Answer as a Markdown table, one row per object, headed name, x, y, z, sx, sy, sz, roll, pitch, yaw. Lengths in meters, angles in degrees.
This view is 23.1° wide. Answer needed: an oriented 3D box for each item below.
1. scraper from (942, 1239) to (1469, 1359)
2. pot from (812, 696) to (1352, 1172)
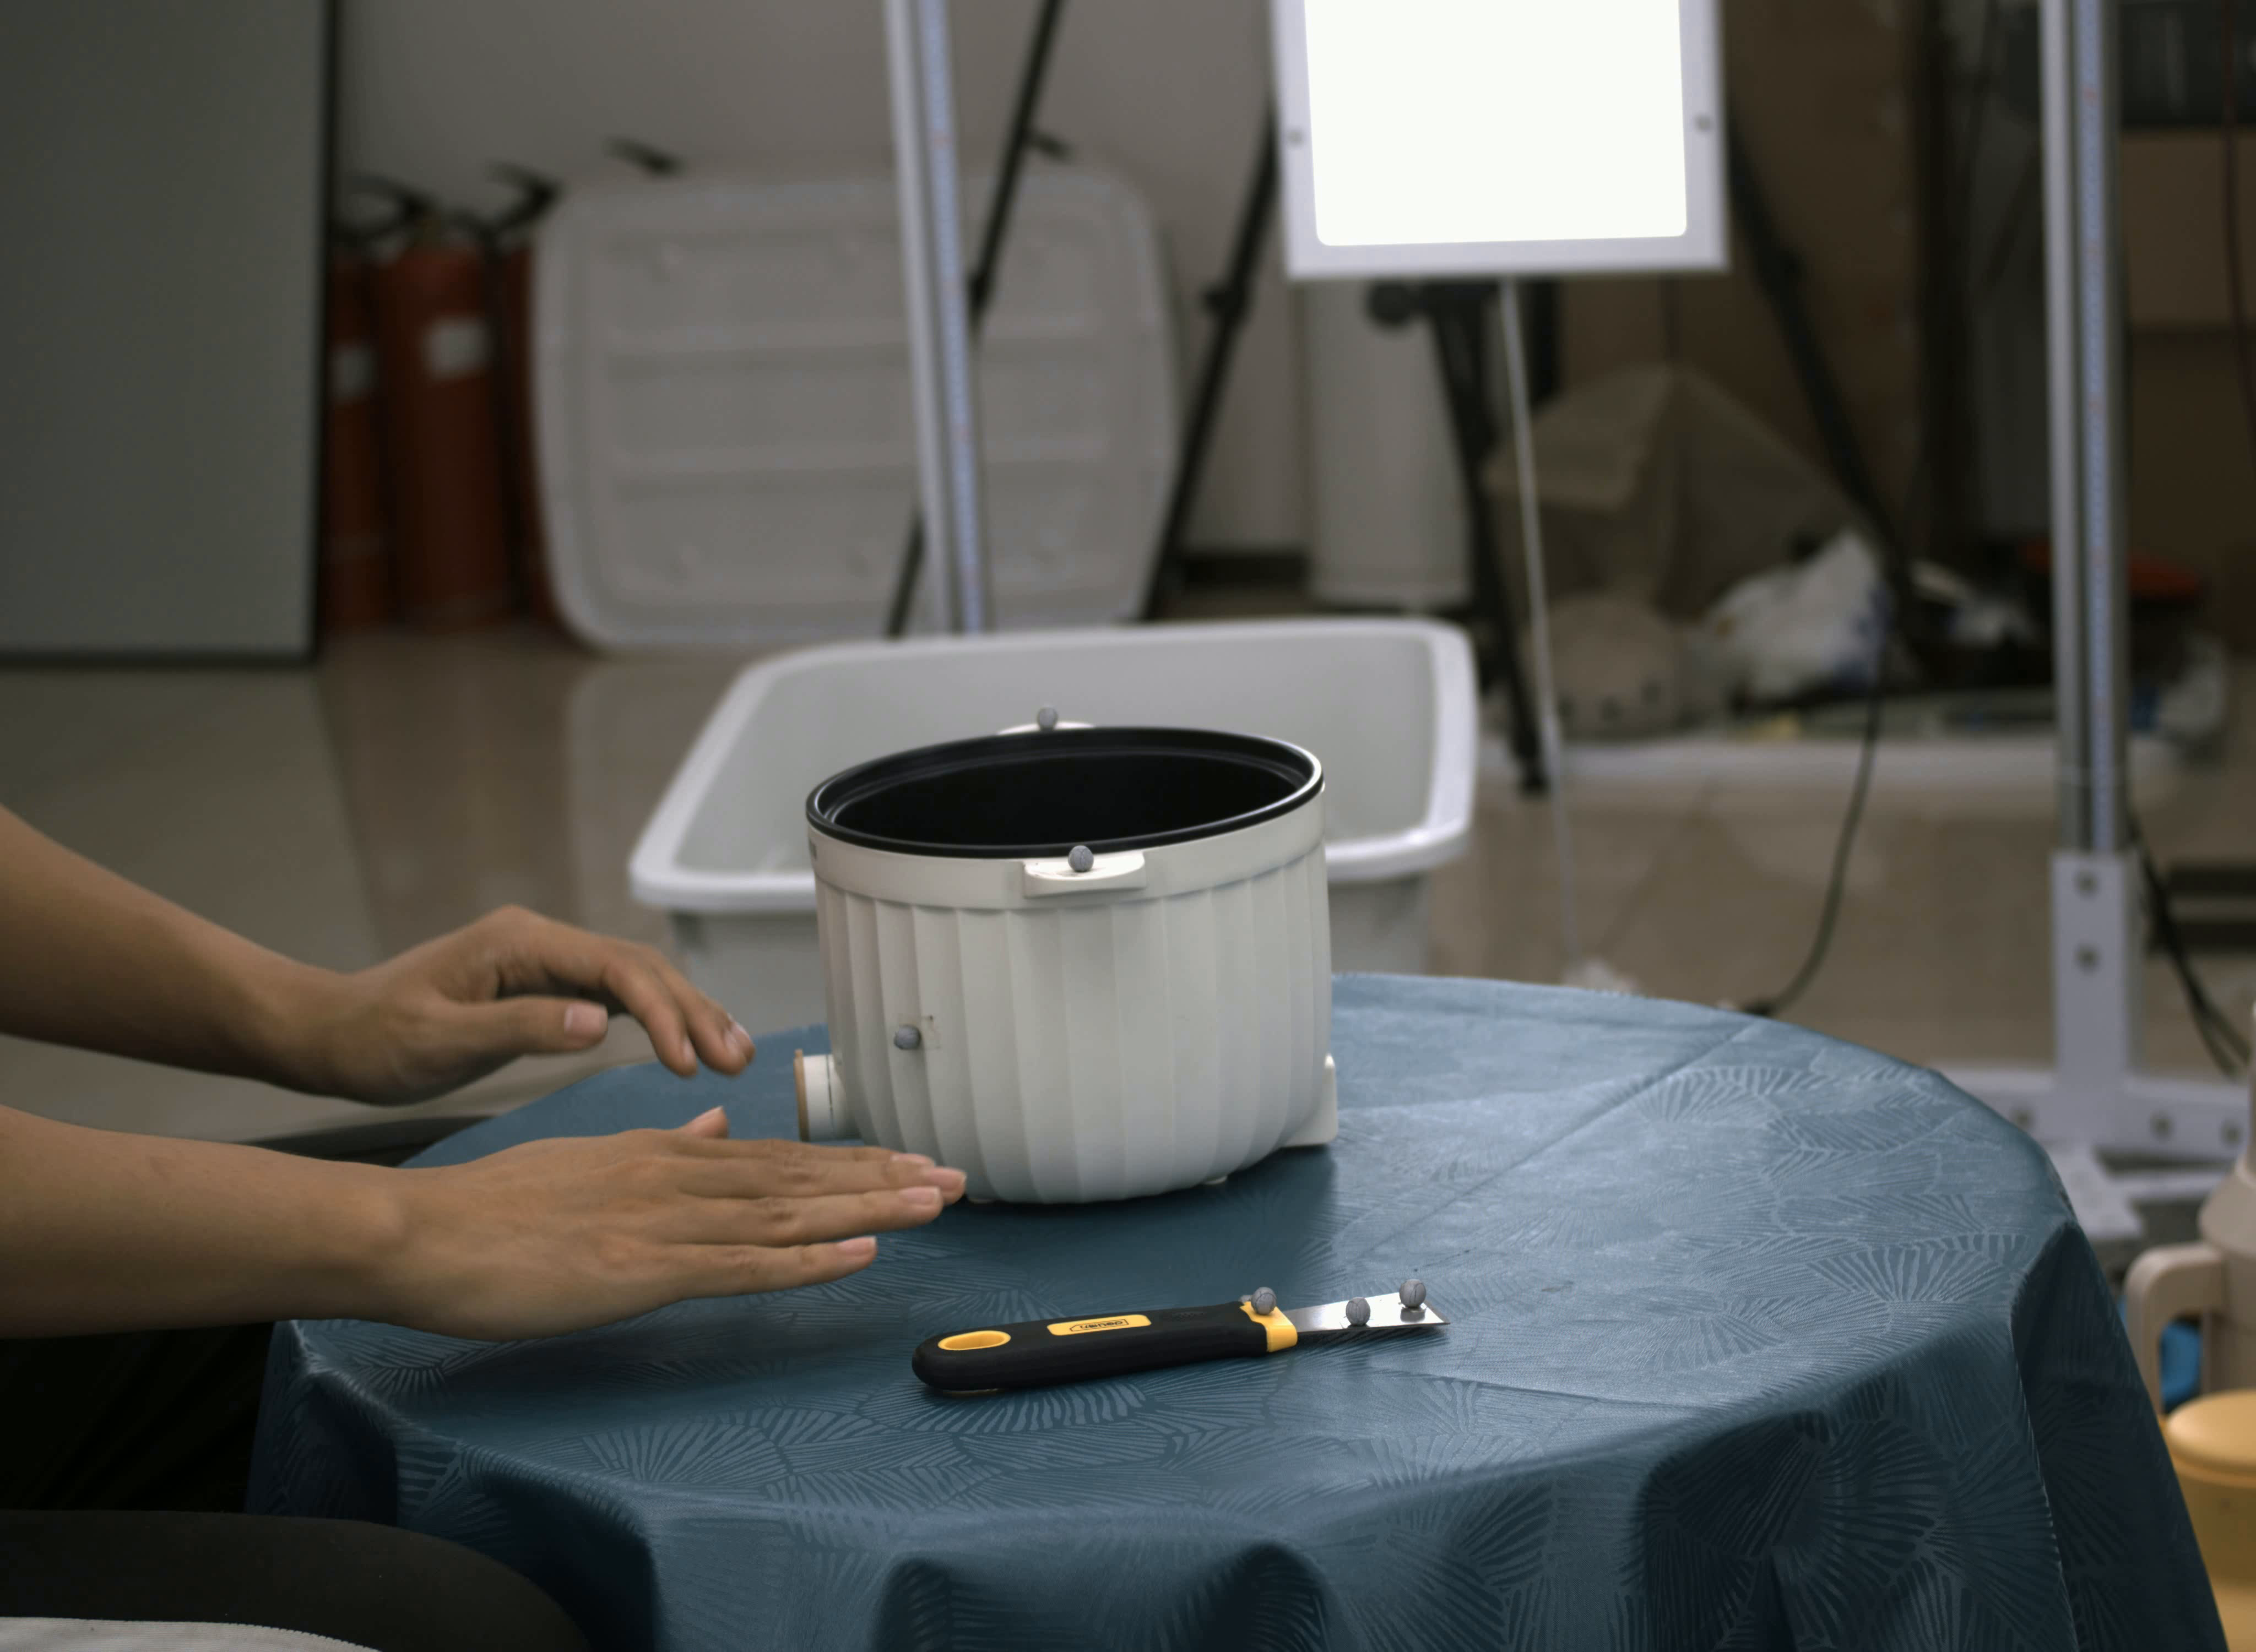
| name | x | y | z | sx | sy | sz | roll | pitch | yaw |
| --- | --- | --- | --- | --- | --- | --- | --- | --- | --- |
| scraper | 0.024 | 0.149 | 1.737 | 0.168 | 0.015 | 0.039 | -6 | 18 | -13 |
| pot | -0.017 | 0.041 | 1.939 | 0.189 | 0.143 | 0.240 | -2 | 12 | -4 |
